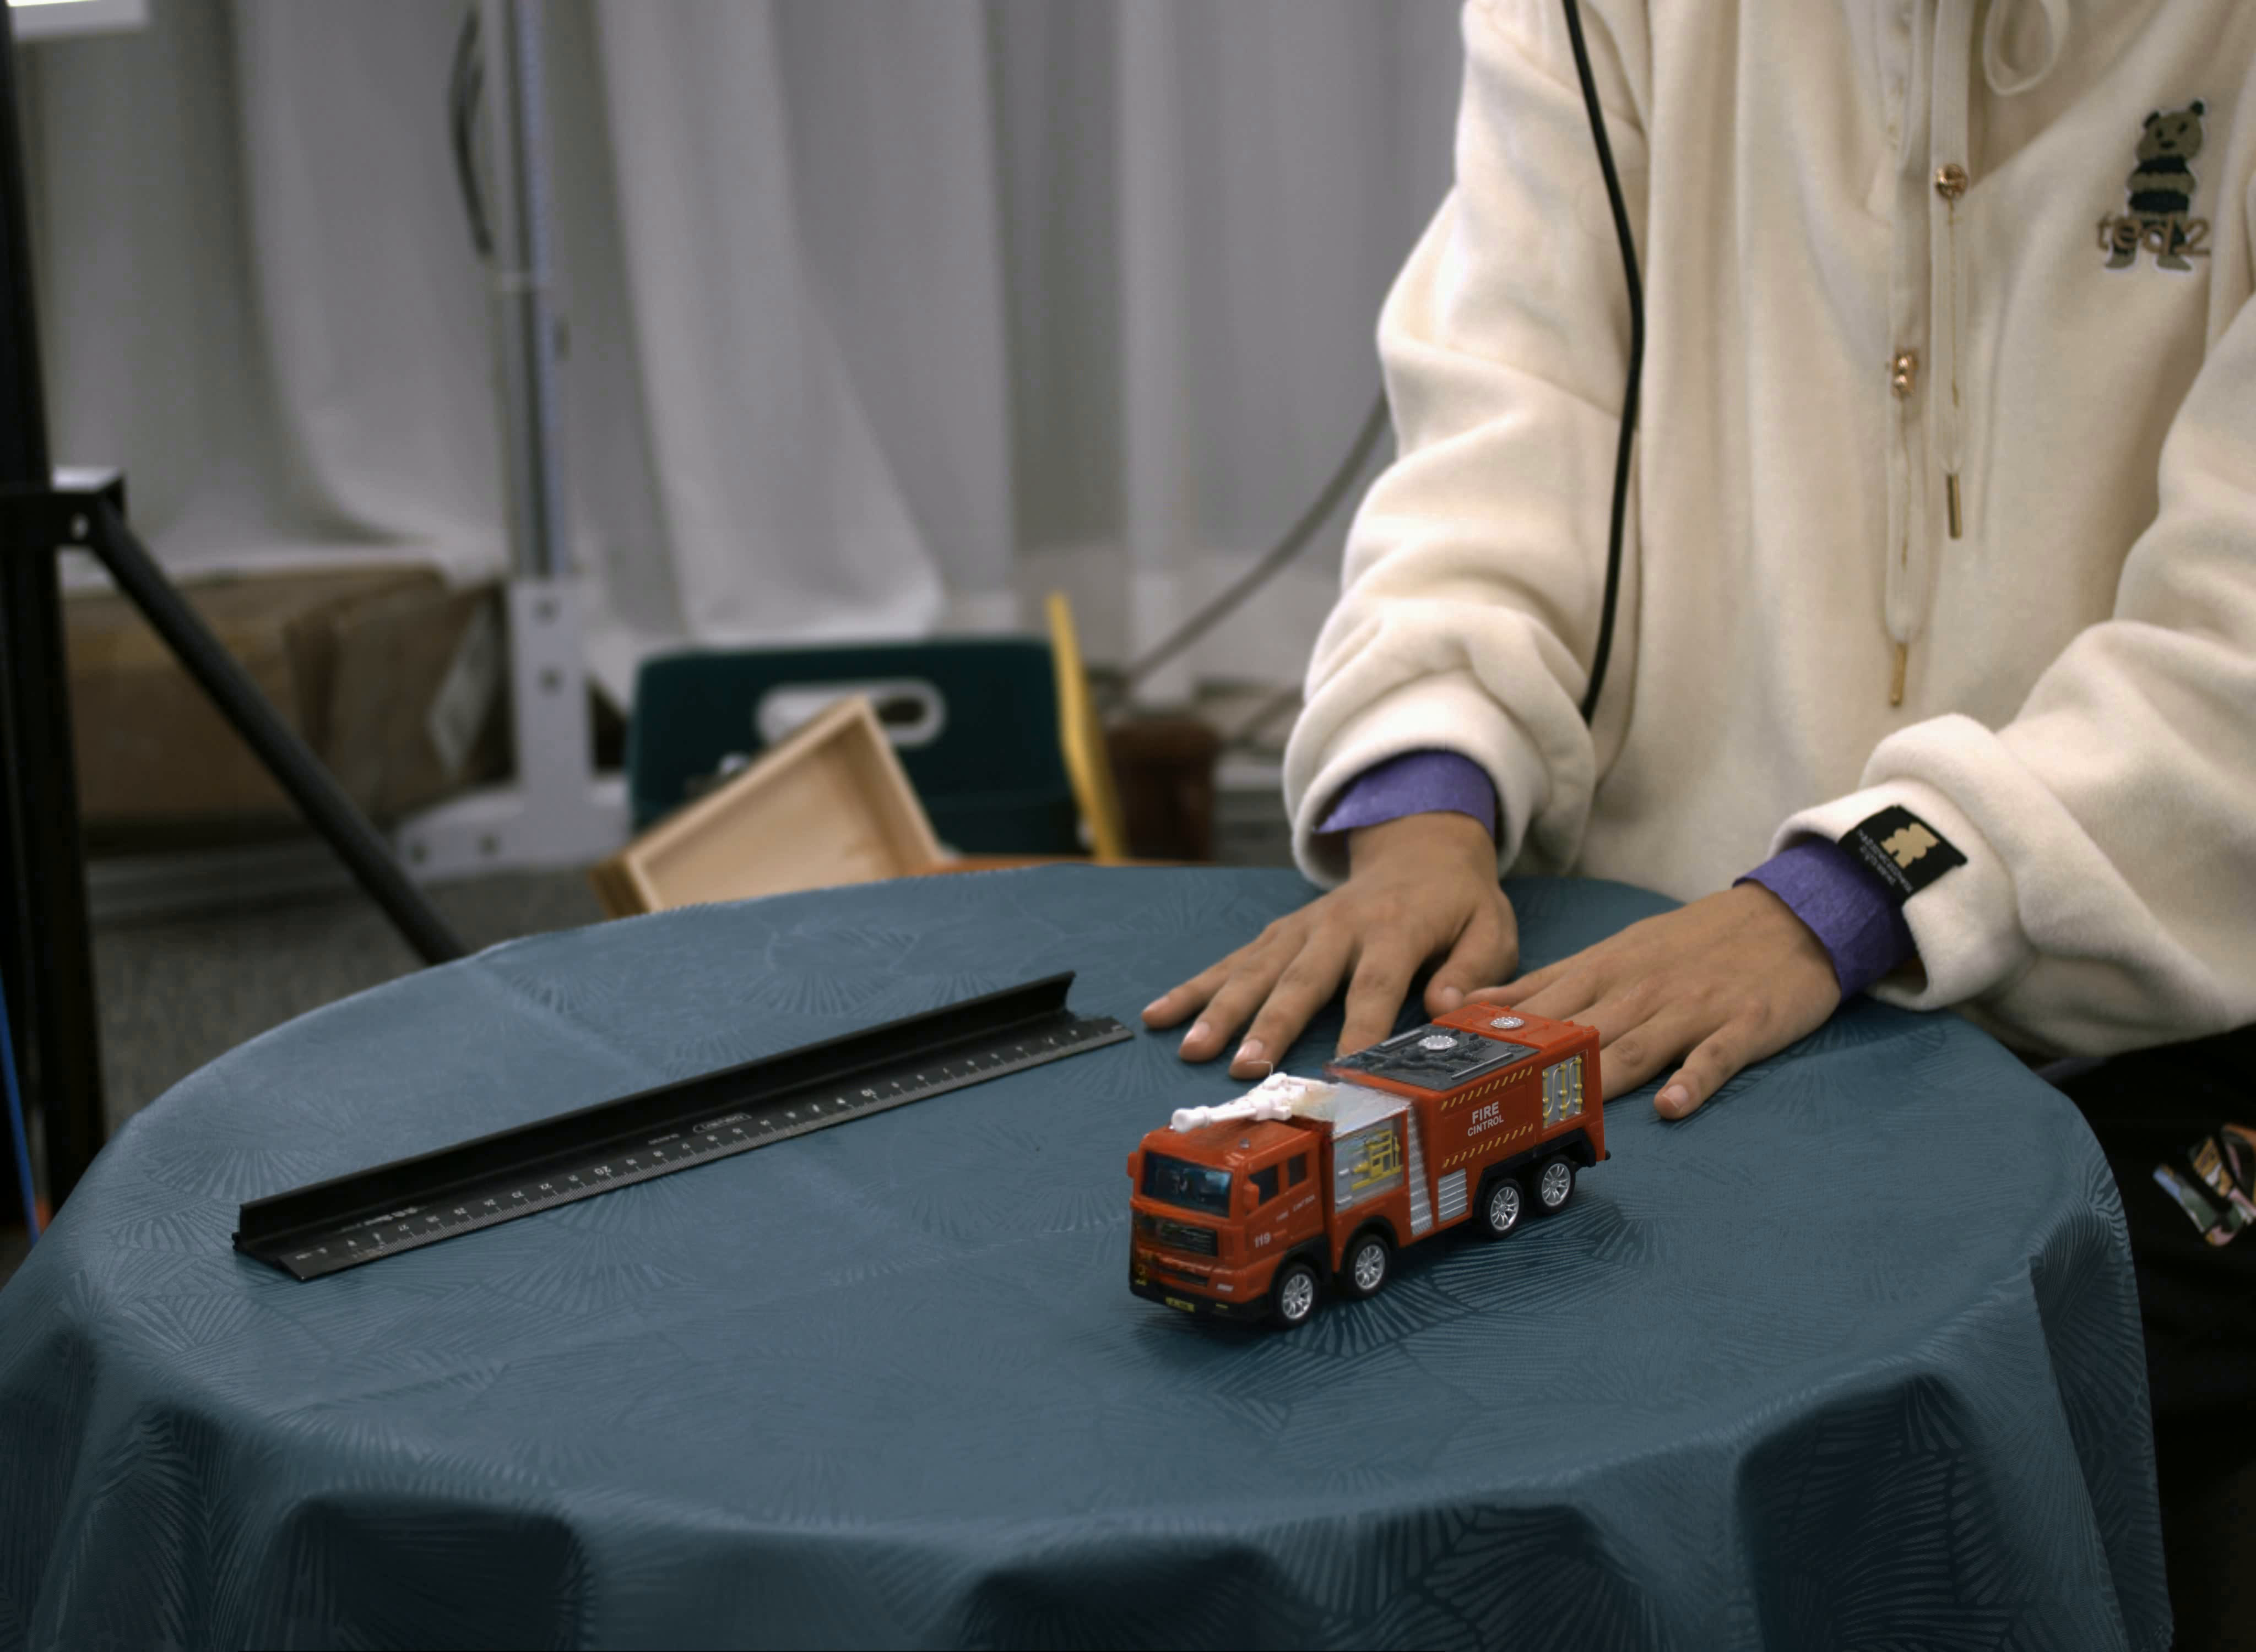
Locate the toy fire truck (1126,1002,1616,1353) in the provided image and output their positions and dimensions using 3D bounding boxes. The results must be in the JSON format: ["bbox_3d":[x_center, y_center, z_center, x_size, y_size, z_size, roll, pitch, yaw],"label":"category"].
[{"bbox_3d":[0.069,0.095,1.485,0.055,0.070,0.164,11,19,43],"label":"toy fire truck"}]

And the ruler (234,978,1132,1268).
[{"bbox_3d":[-0.129,0.088,1.620,0.305,0.017,0.040,-14,22,-35],"label":"ruler"}]
